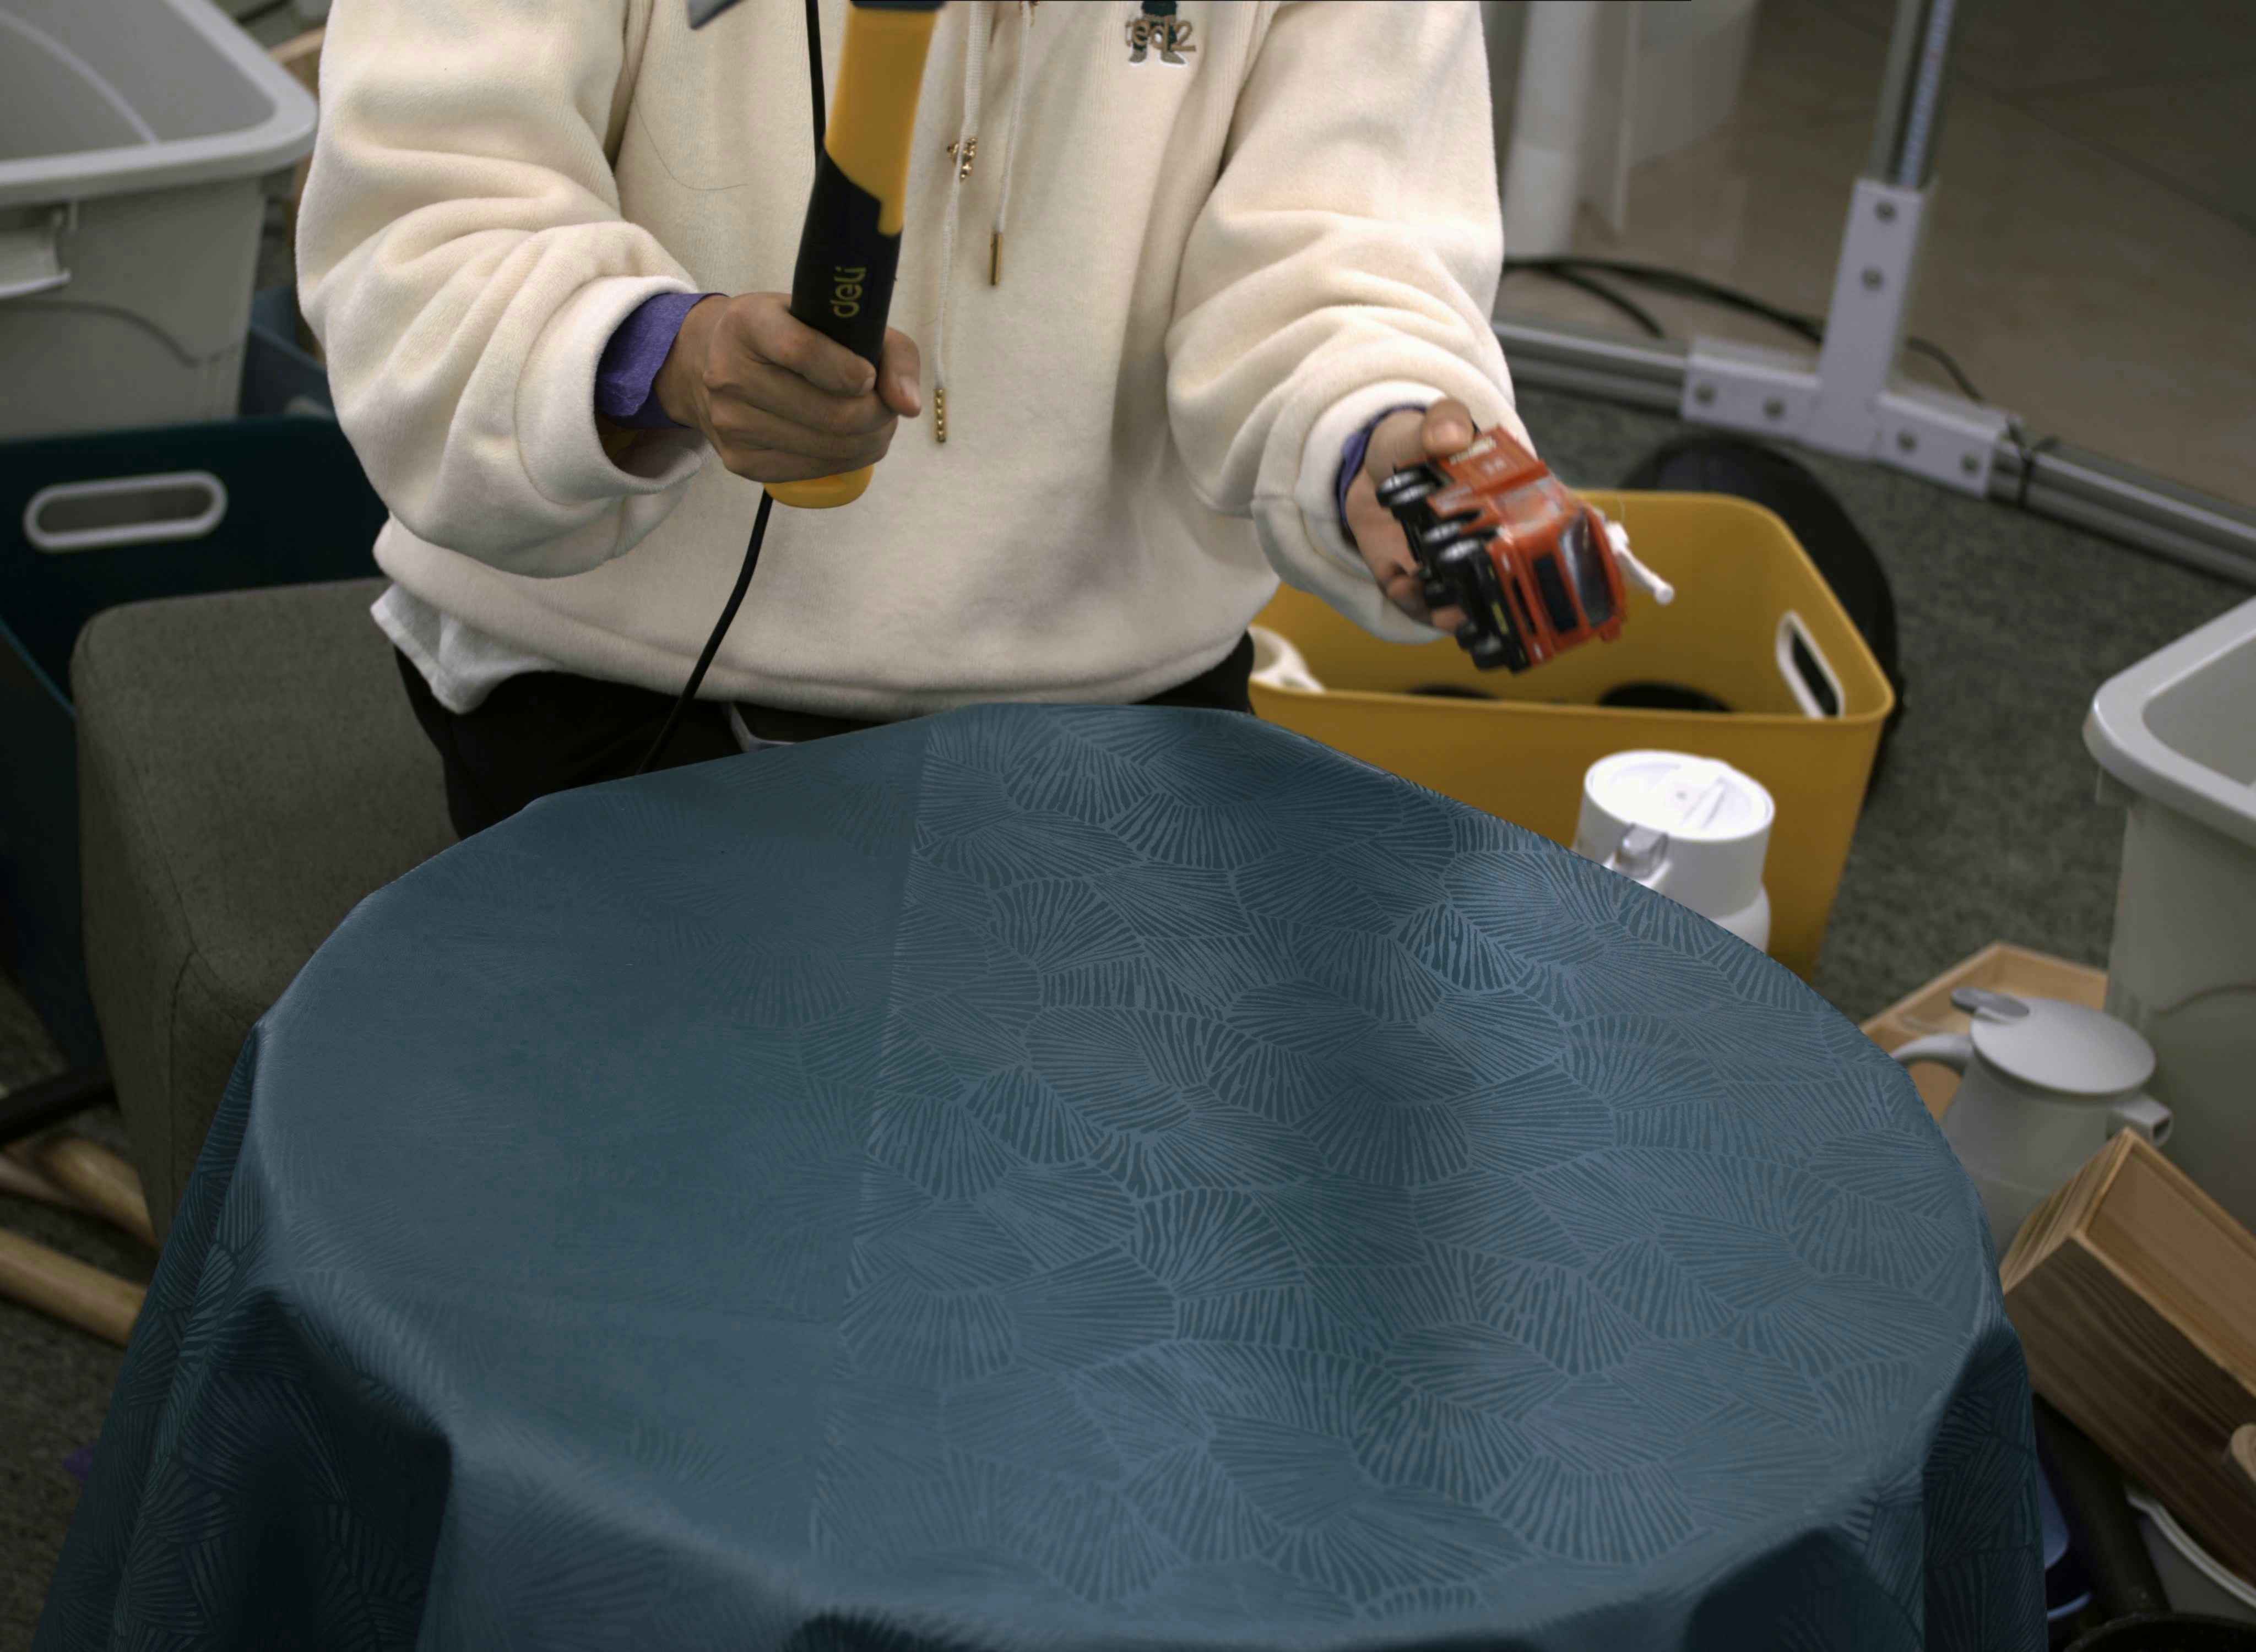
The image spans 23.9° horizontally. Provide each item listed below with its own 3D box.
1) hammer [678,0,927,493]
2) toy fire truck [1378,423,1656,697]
[{"bbox_3d":[-0.093,-0.215,1.813,0.131,0.337,0.032,0,61,-8],"label":"hammer"},{"bbox_3d":[0.130,-0.093,1.822,0.070,0.054,0.169,-22,17,-2],"label":"toy fire truck"}]
